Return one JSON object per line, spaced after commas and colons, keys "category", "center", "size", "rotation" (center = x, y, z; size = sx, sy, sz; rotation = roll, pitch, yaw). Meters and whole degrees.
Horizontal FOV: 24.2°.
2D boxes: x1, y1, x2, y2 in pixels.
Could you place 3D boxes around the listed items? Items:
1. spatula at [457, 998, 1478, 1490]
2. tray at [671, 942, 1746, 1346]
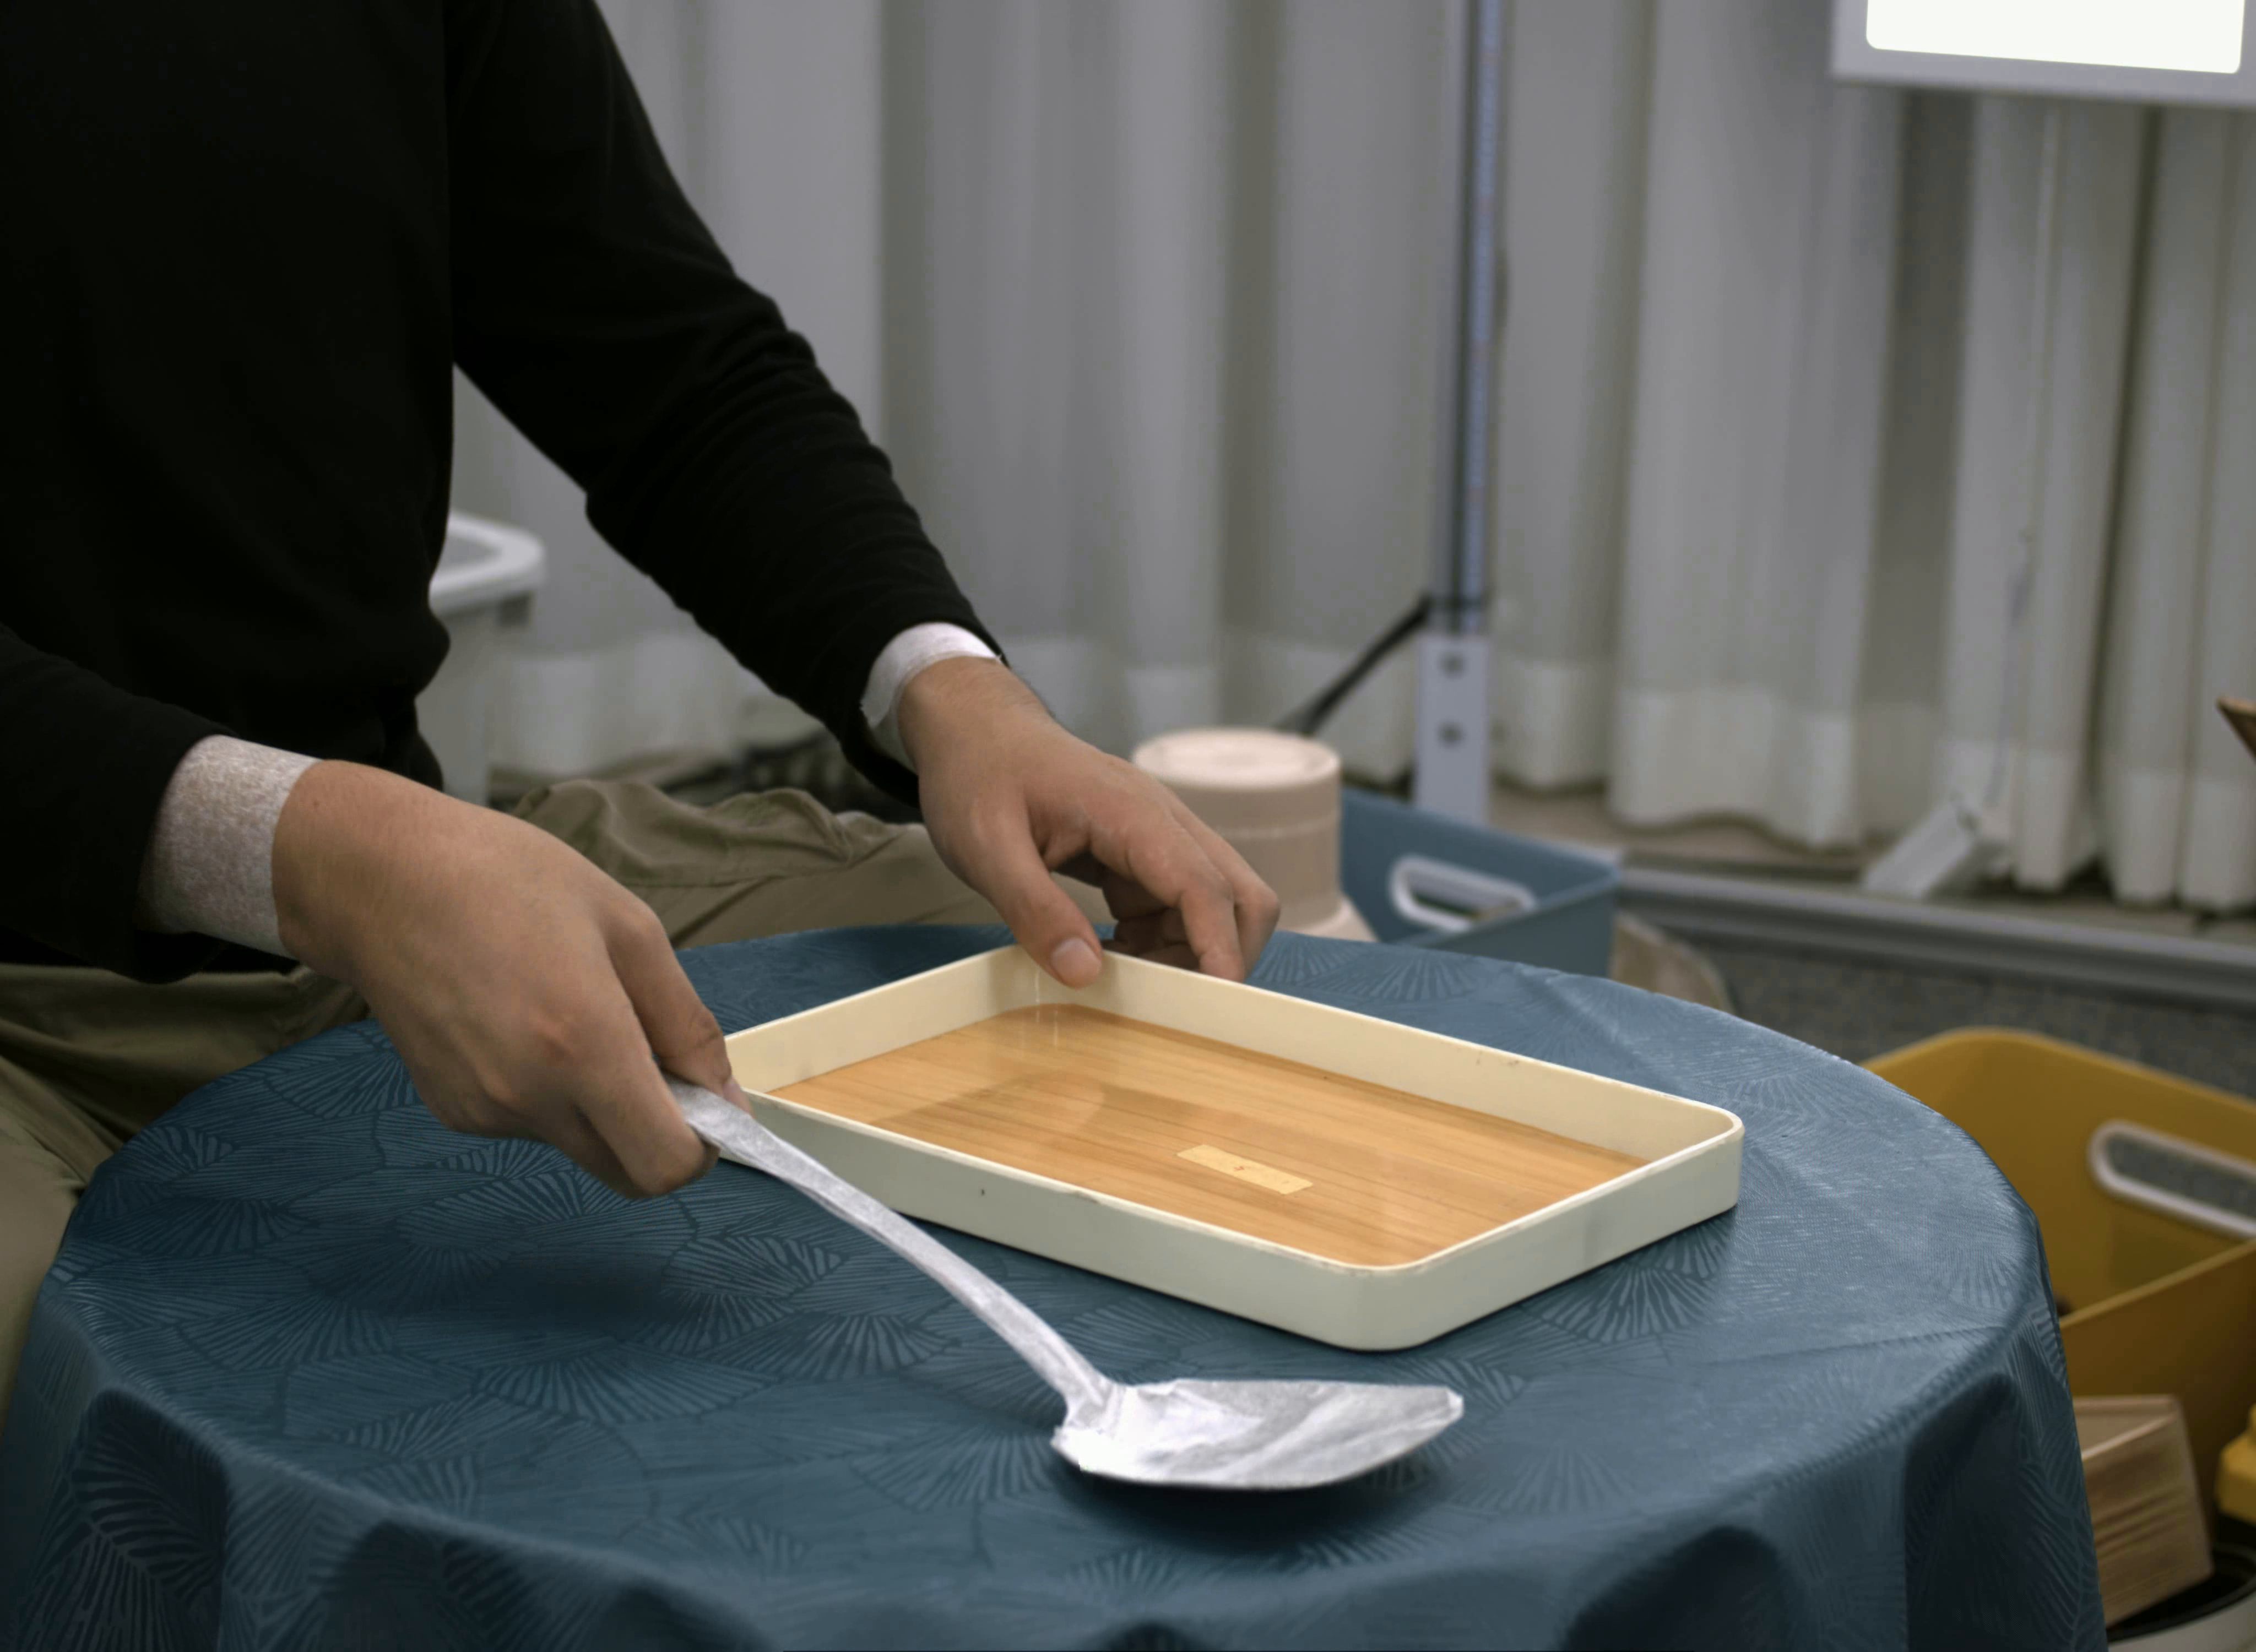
{"category": "spatula", "center": [-0.066, 0.108, 1.469], "size": [0.360, 0.045, 0.099], "rotation": [28, 29, 31]}
{"category": "tray", "center": [0.022, 0.094, 1.637], "size": [0.296, 0.027, 0.192], "rotation": [13, 20, 39]}
